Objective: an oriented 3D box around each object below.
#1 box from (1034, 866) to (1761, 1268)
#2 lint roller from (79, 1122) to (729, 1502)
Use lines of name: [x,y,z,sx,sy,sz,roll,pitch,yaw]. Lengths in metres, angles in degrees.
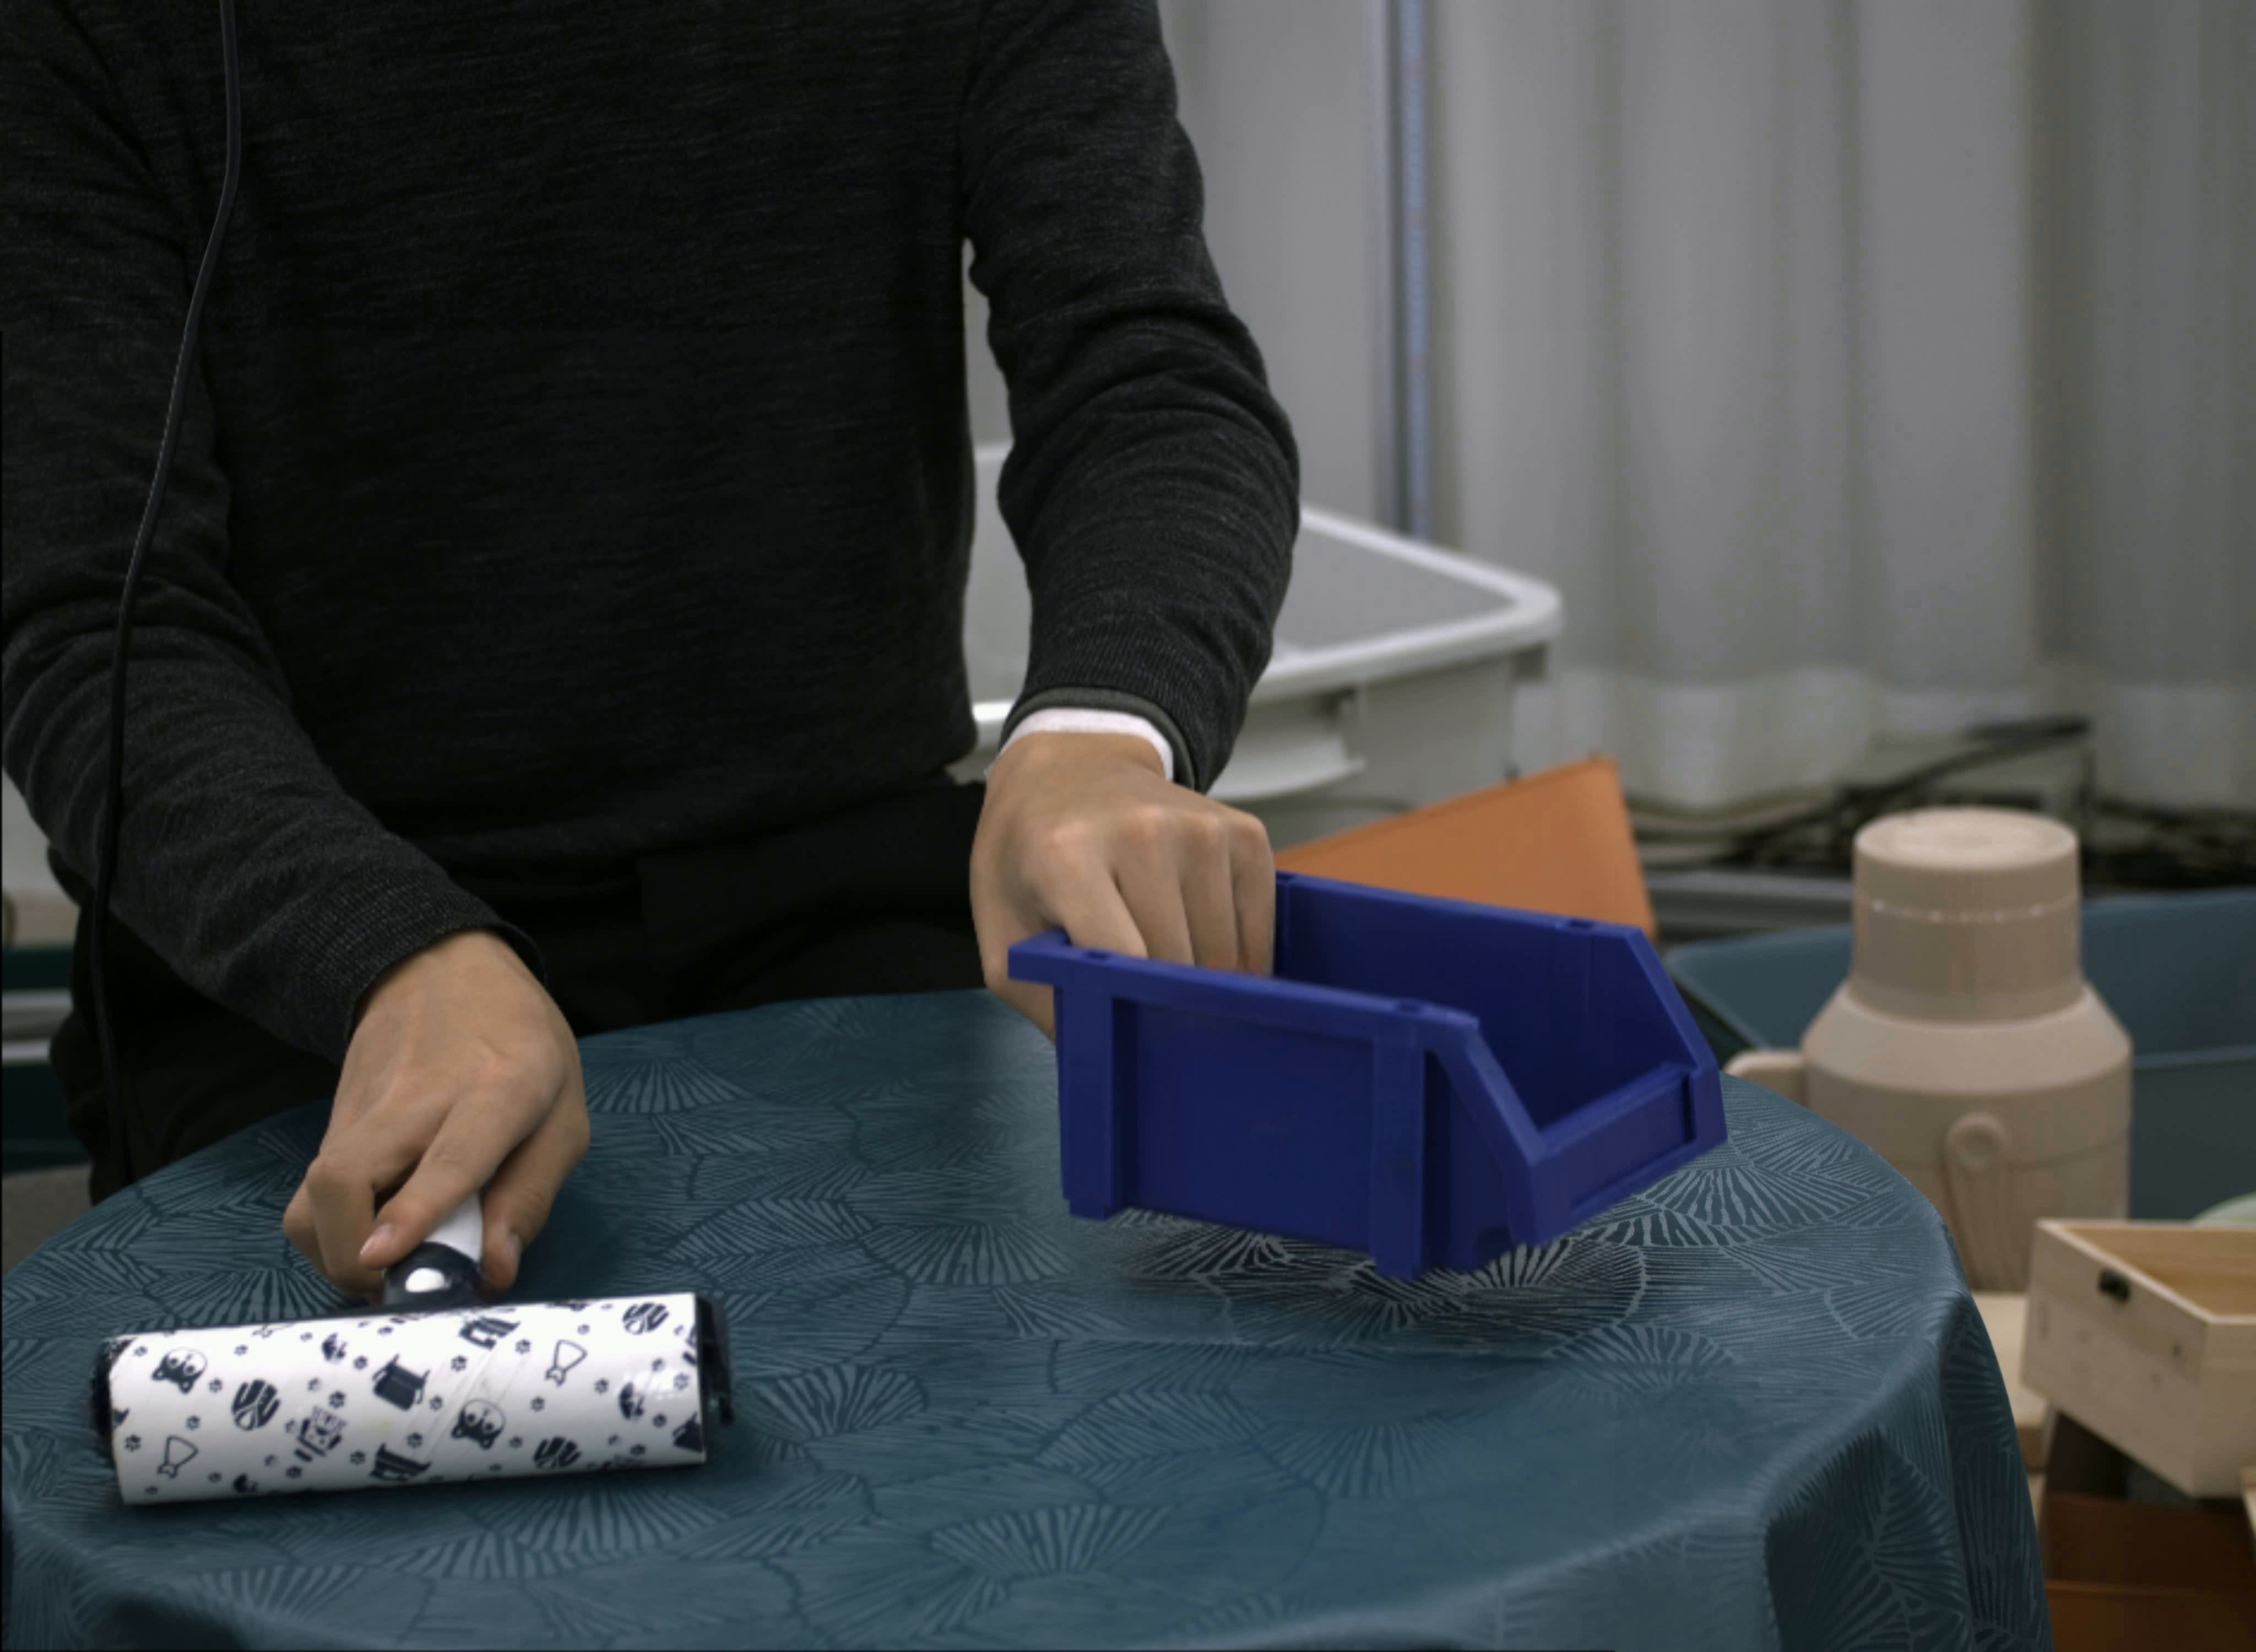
box: [0.081,0.070,1.615,0.180,0.081,0.124,6,13,33]
lint roller: [-0.206,0.129,1.598,0.175,0.050,0.249,-5,17,-4]
